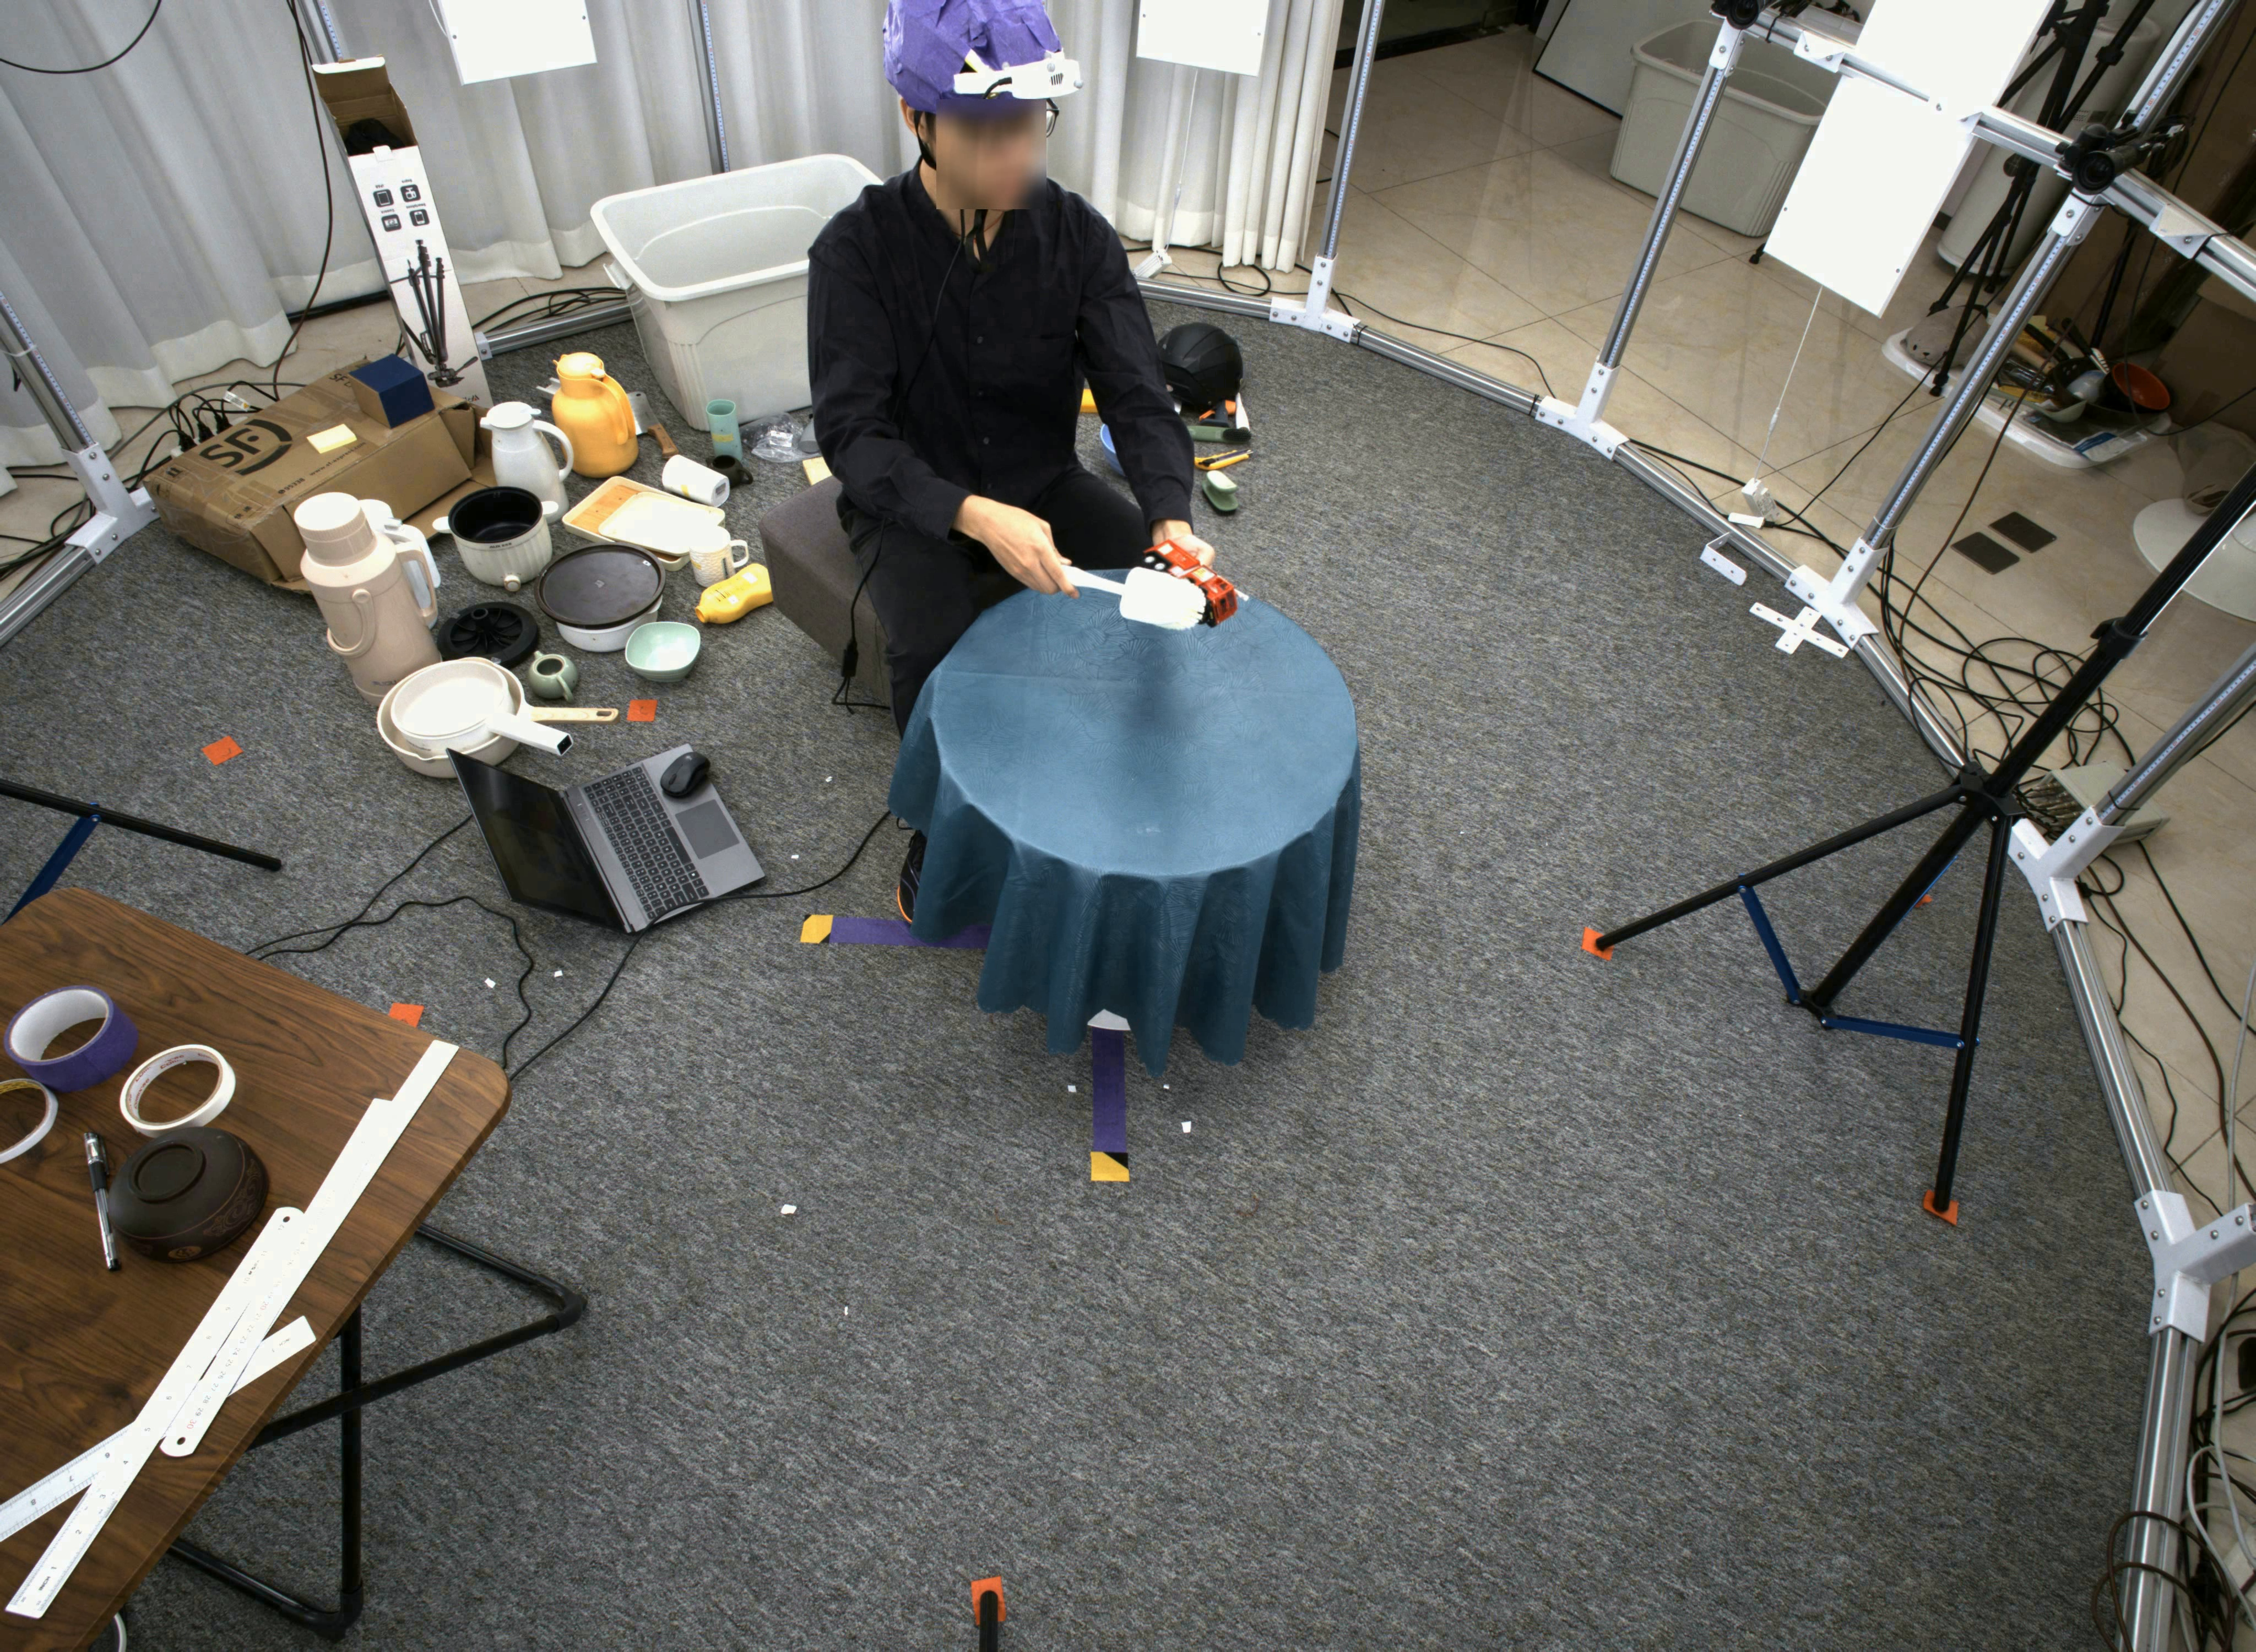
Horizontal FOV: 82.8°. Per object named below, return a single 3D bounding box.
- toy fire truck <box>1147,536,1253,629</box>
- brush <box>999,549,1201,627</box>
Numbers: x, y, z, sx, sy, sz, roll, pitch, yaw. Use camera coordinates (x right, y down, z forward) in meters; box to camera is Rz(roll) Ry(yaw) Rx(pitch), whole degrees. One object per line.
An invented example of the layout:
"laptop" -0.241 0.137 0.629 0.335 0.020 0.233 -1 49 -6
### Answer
"toy fire truck" 0.087 -0.319 1.678 0.070 0.052 0.171 -32 46 -14
"brush" -0.032 -0.327 1.710 0.329 0.082 0.084 21 65 35
